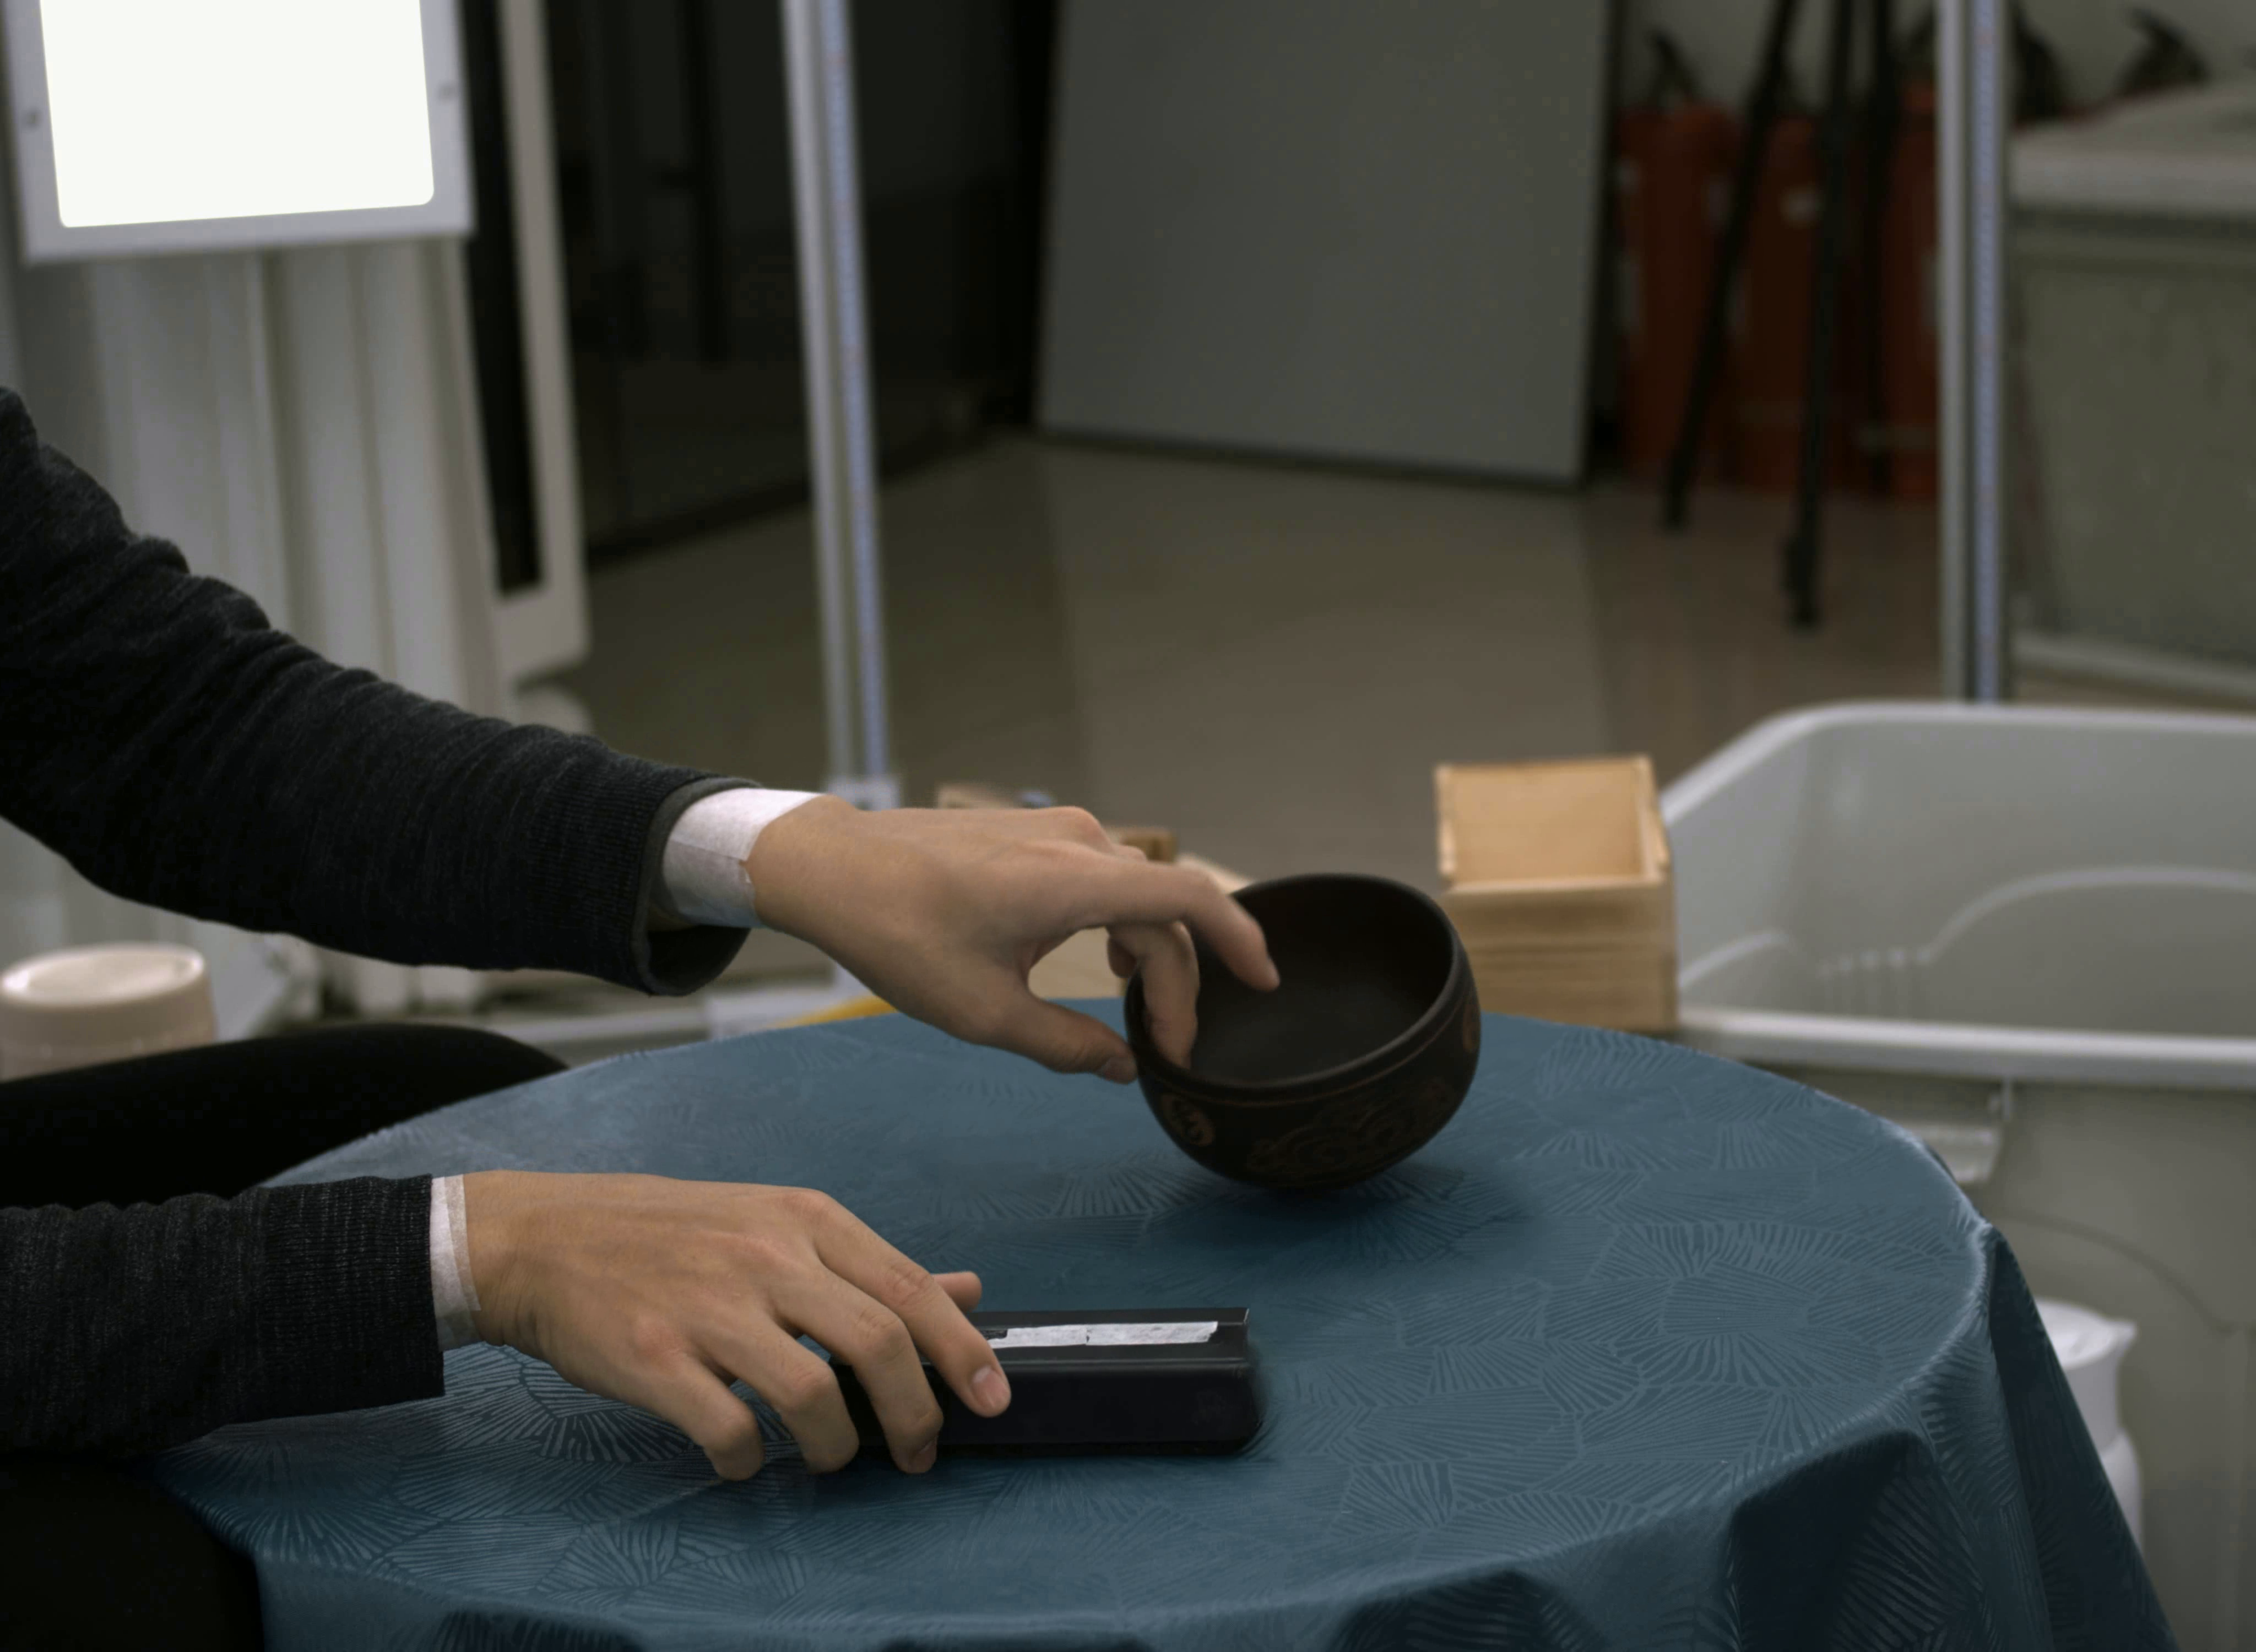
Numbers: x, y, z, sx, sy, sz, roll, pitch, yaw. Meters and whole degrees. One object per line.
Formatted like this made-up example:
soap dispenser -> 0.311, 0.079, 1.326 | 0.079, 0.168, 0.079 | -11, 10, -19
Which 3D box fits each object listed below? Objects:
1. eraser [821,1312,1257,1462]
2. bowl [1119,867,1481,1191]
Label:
eraser -> -0.024, 0.161, 1.553 | 0.124, 0.031, 0.053 | -3, 11, 7
bowl -> 0.060, 0.075, 1.761 | 0.117, 0.070, 0.118 | -12, 32, 7
